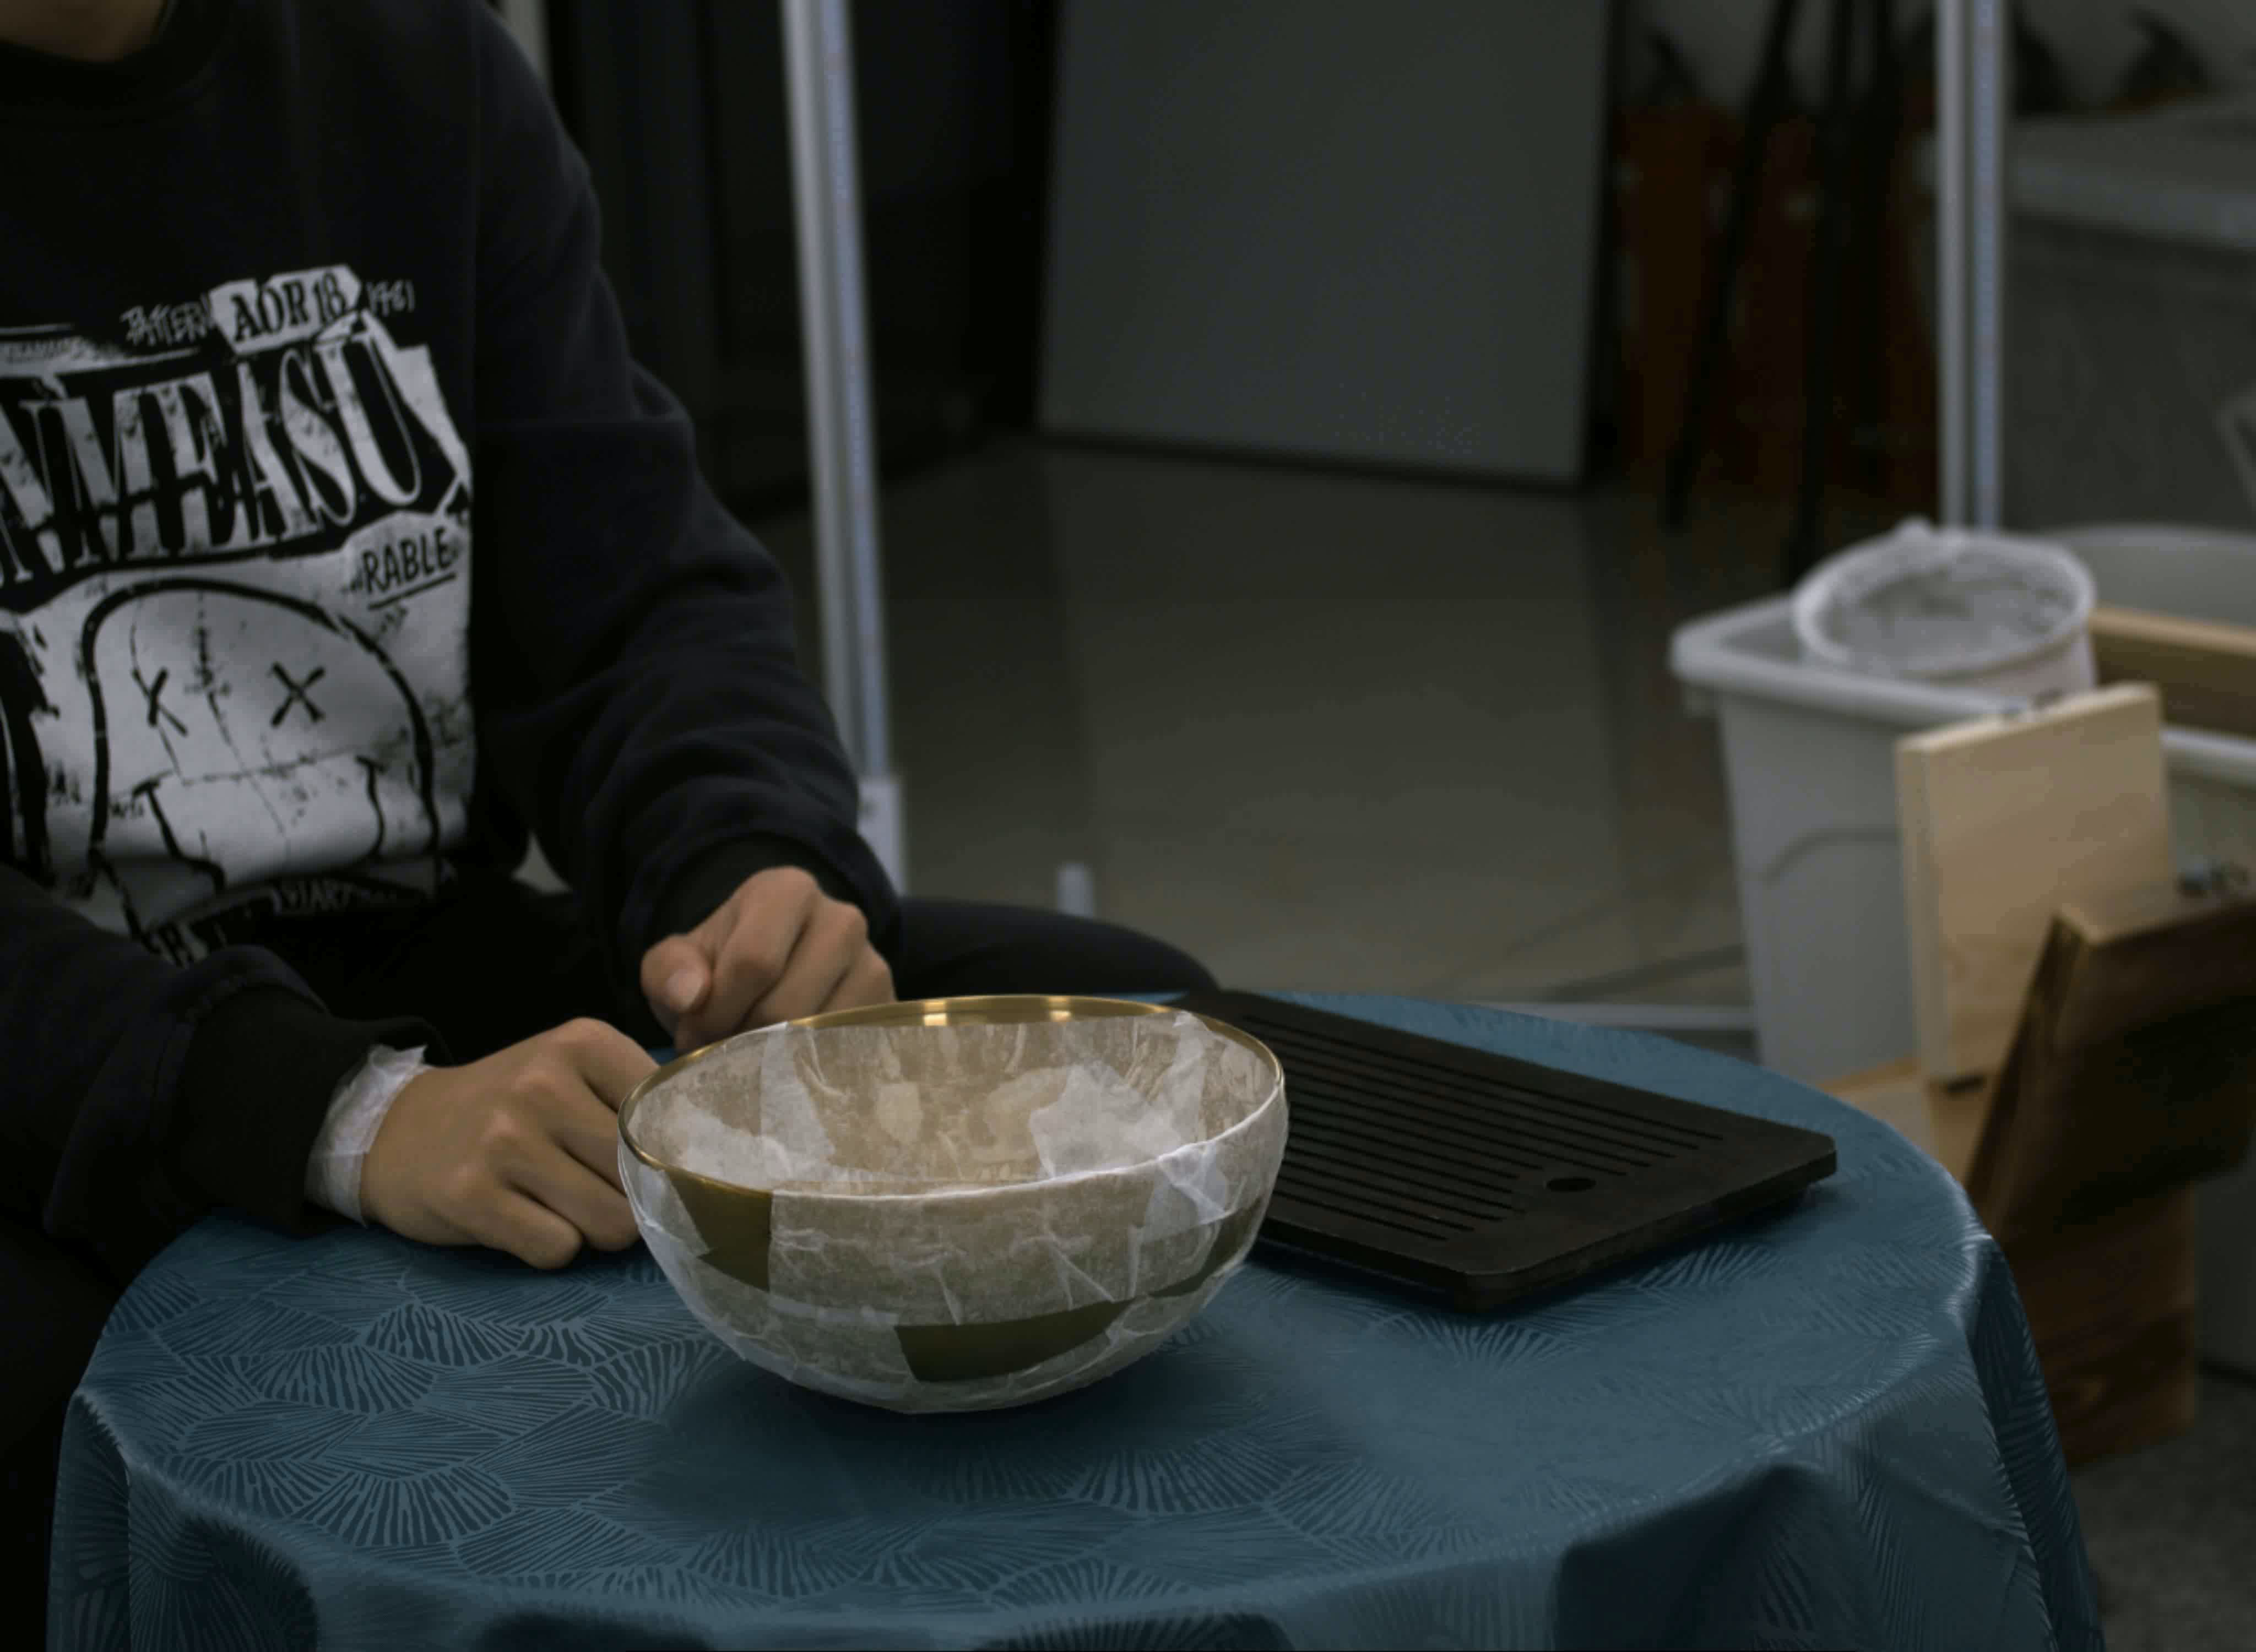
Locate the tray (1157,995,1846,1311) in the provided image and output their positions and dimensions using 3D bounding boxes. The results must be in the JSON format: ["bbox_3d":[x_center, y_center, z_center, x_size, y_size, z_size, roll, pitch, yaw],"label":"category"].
[{"bbox_3d":[0.074,0.105,1.780,0.166,0.019,0.309,-15,18,-38],"label":"tray"}]

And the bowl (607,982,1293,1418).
[{"bbox_3d":[-0.049,0.118,1.603,0.212,0.095,0.215,-5,15,0],"label":"bowl"}]
